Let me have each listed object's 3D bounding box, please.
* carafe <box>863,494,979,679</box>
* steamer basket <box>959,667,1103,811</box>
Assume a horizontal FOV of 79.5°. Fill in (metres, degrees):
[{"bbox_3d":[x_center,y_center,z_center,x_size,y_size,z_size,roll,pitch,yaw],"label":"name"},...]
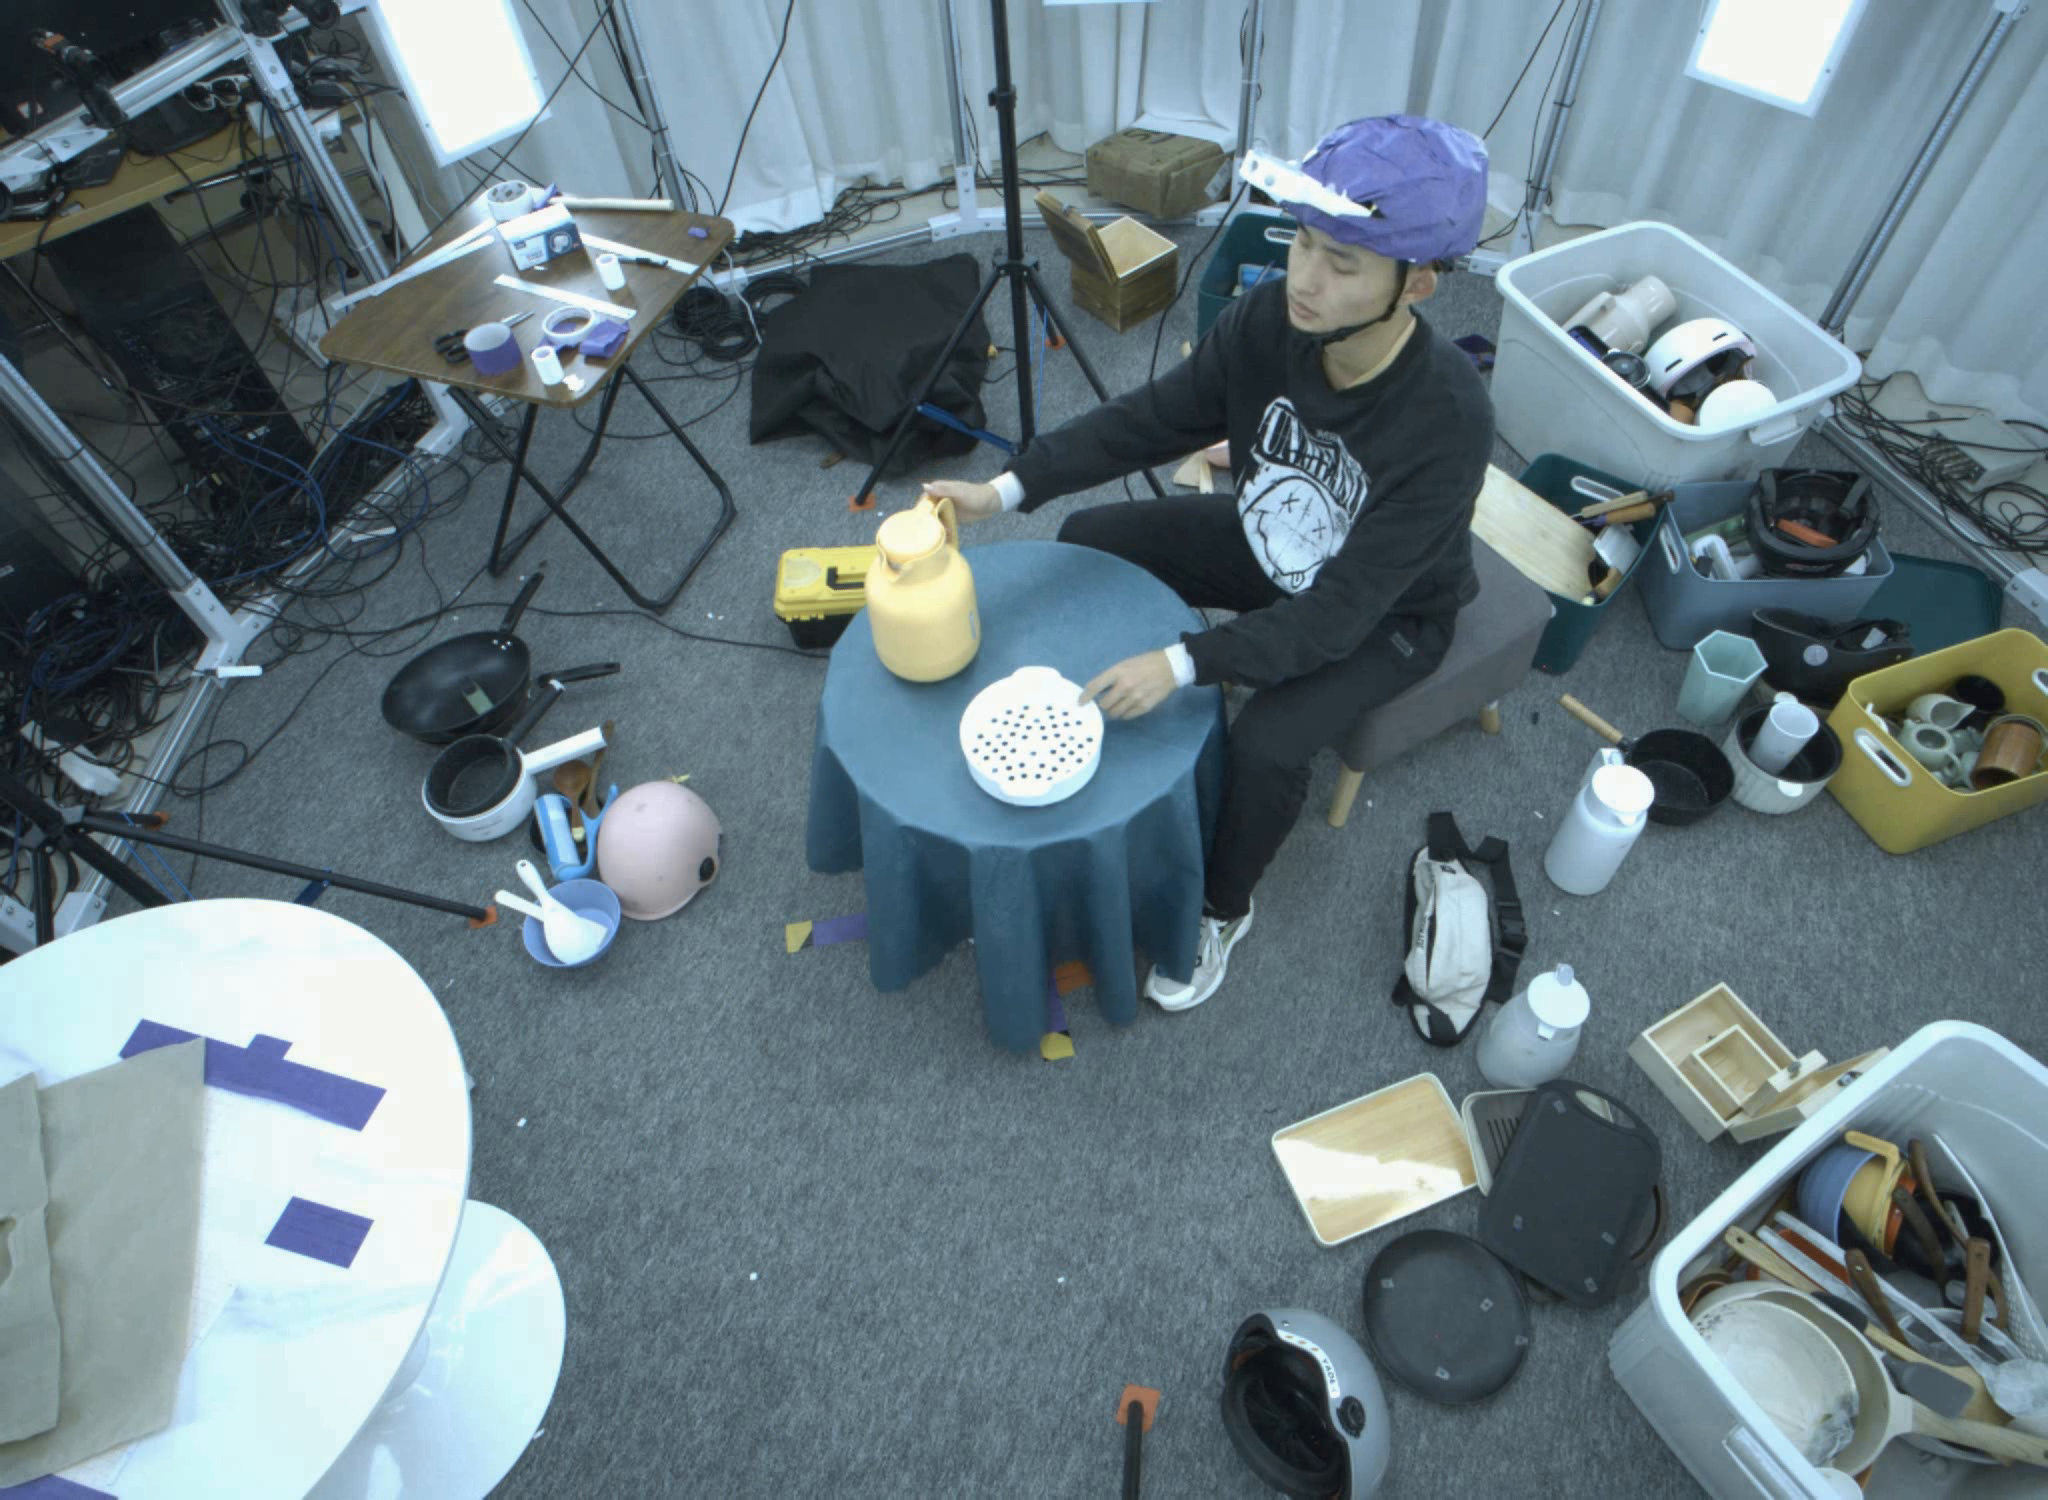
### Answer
[{"bbox_3d":[-0.146,-0.247,1.802,0.162,0.263,0.202,18,59,13],"label":"carafe"},{"bbox_3d":[0.010,-0.010,1.748,0.201,0.070,0.228,2,57,2],"label":"steamer basket"}]
